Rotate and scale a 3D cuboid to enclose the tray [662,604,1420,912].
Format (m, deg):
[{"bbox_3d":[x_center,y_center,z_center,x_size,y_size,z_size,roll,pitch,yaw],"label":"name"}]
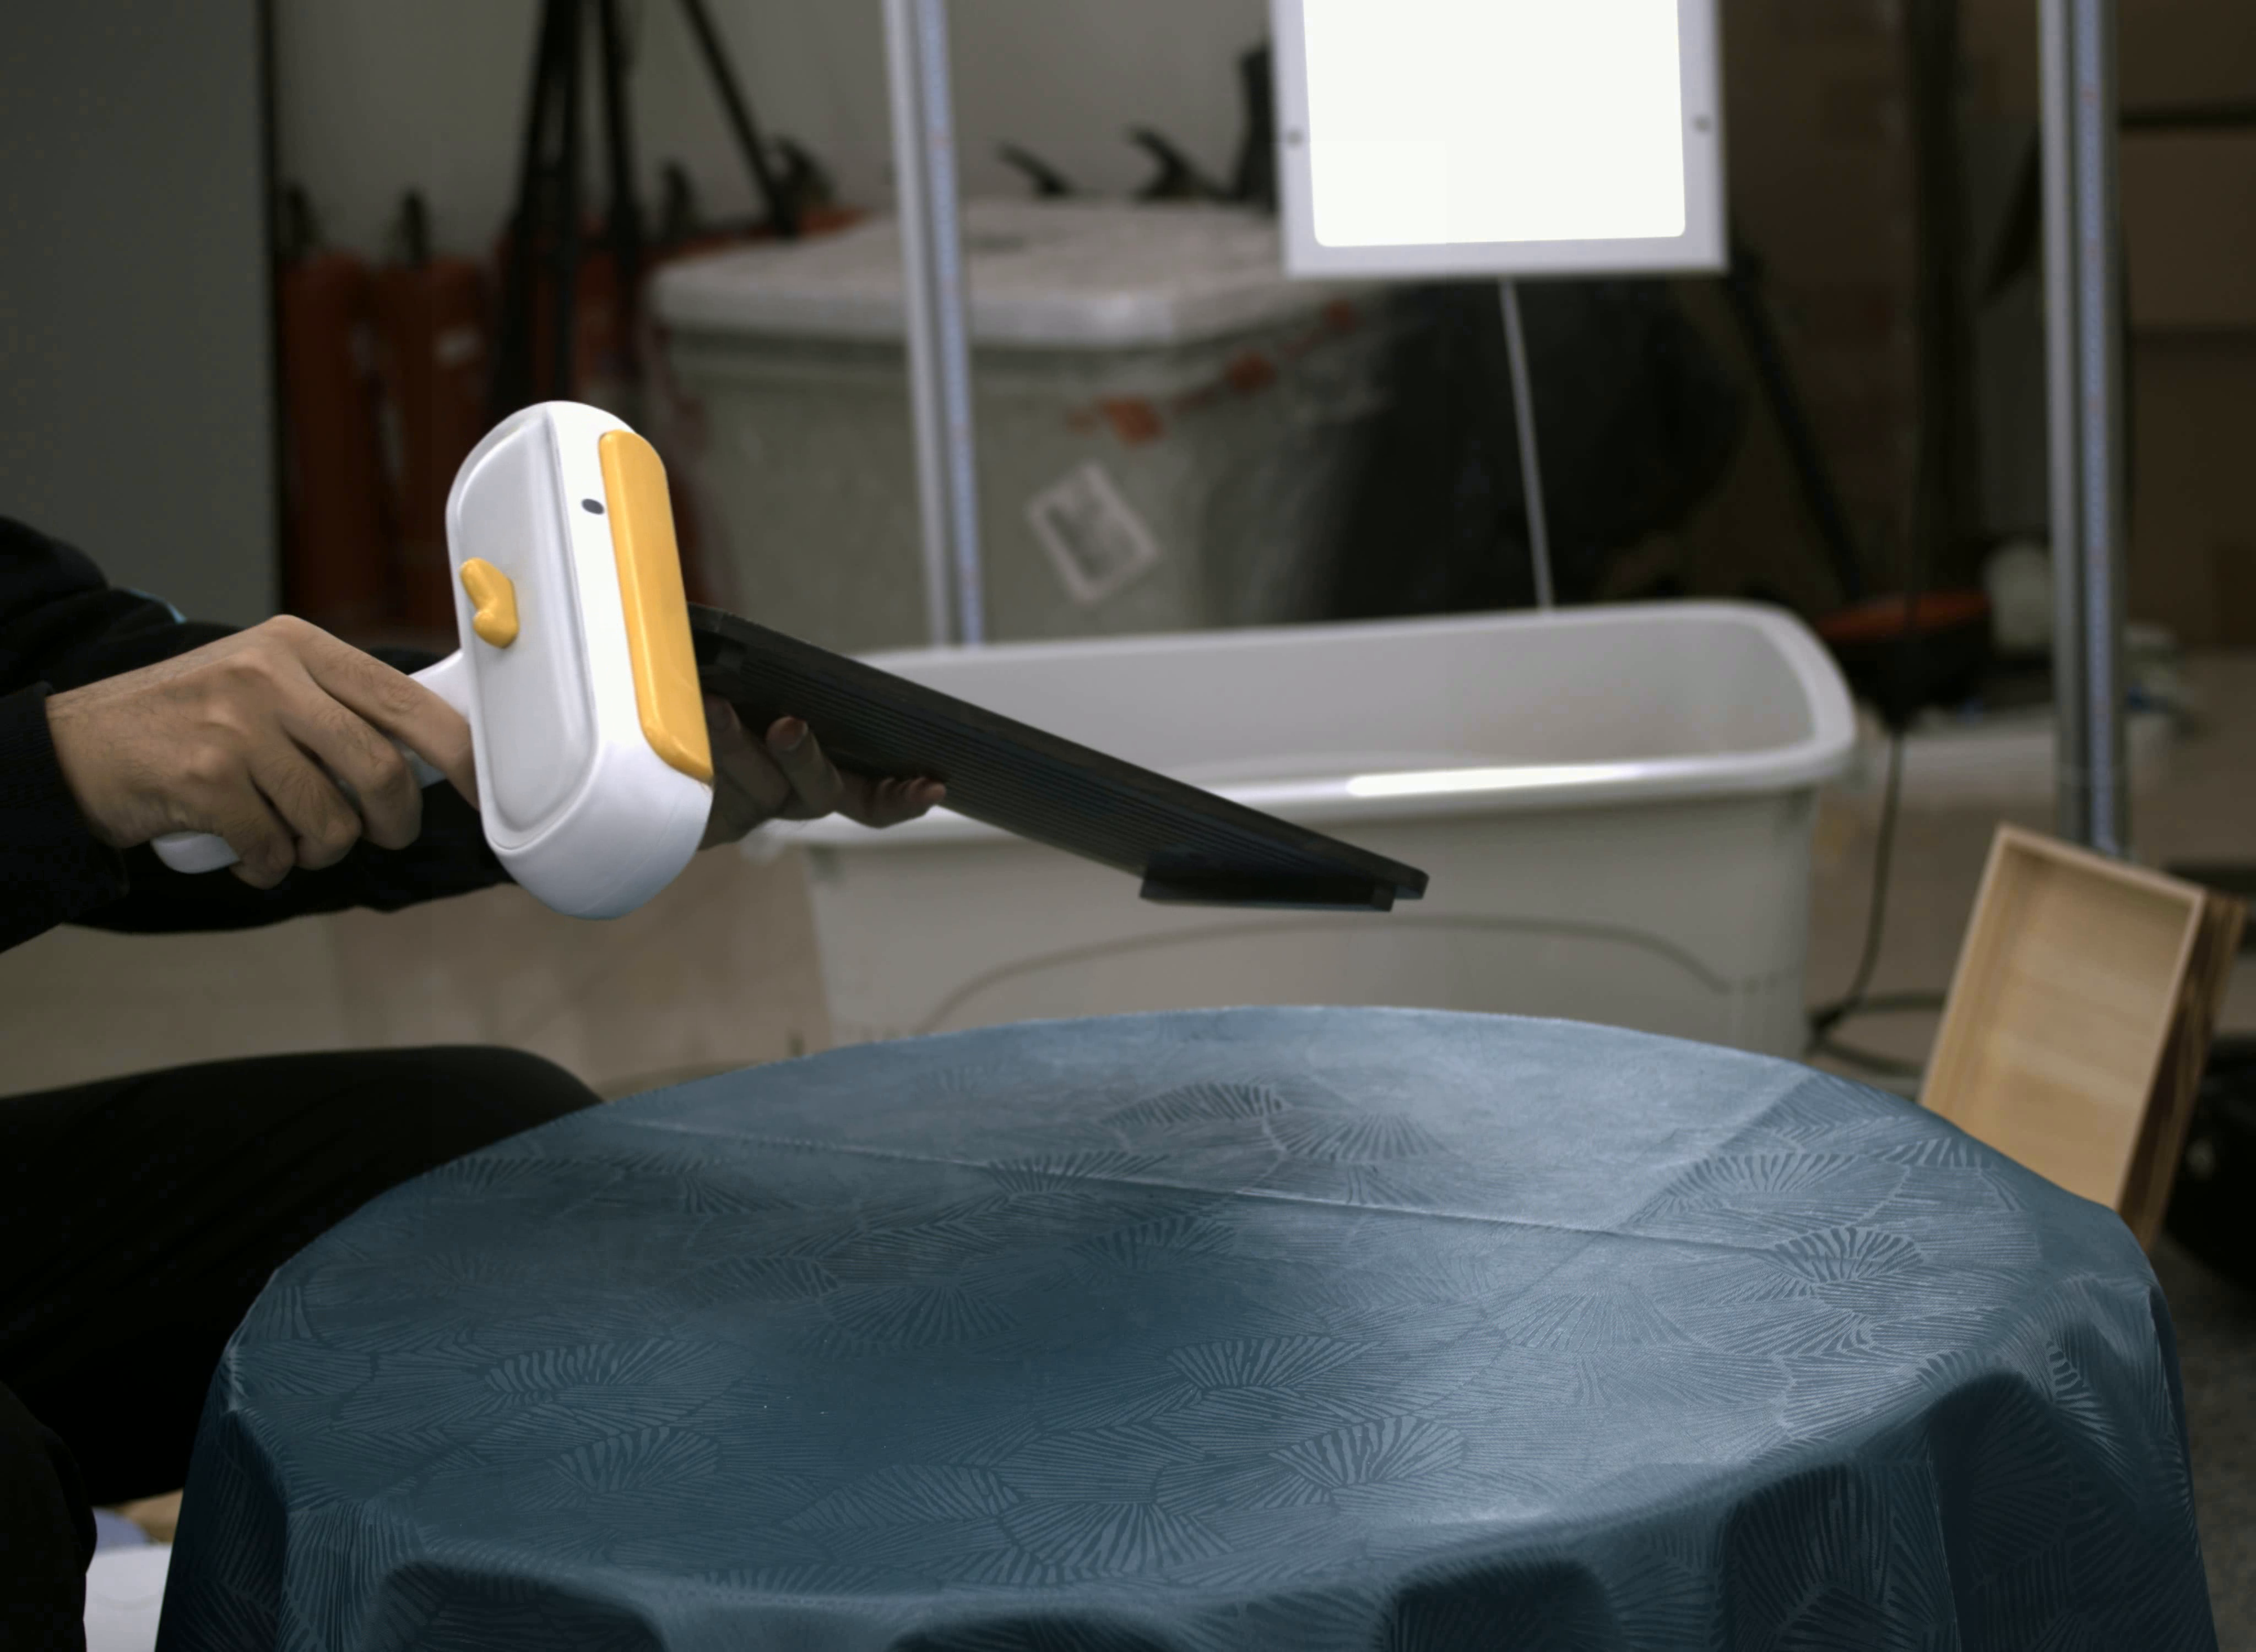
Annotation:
[{"bbox_3d":[-0.062,-0.019,1.886,0.300,0.018,0.173,19,-9,-28],"label":"tray"}]

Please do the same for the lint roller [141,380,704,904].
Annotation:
[{"bbox_3d":[-0.228,-0.033,1.760,0.195,0.194,0.073,-35,-41,20],"label":"lint roller"}]
